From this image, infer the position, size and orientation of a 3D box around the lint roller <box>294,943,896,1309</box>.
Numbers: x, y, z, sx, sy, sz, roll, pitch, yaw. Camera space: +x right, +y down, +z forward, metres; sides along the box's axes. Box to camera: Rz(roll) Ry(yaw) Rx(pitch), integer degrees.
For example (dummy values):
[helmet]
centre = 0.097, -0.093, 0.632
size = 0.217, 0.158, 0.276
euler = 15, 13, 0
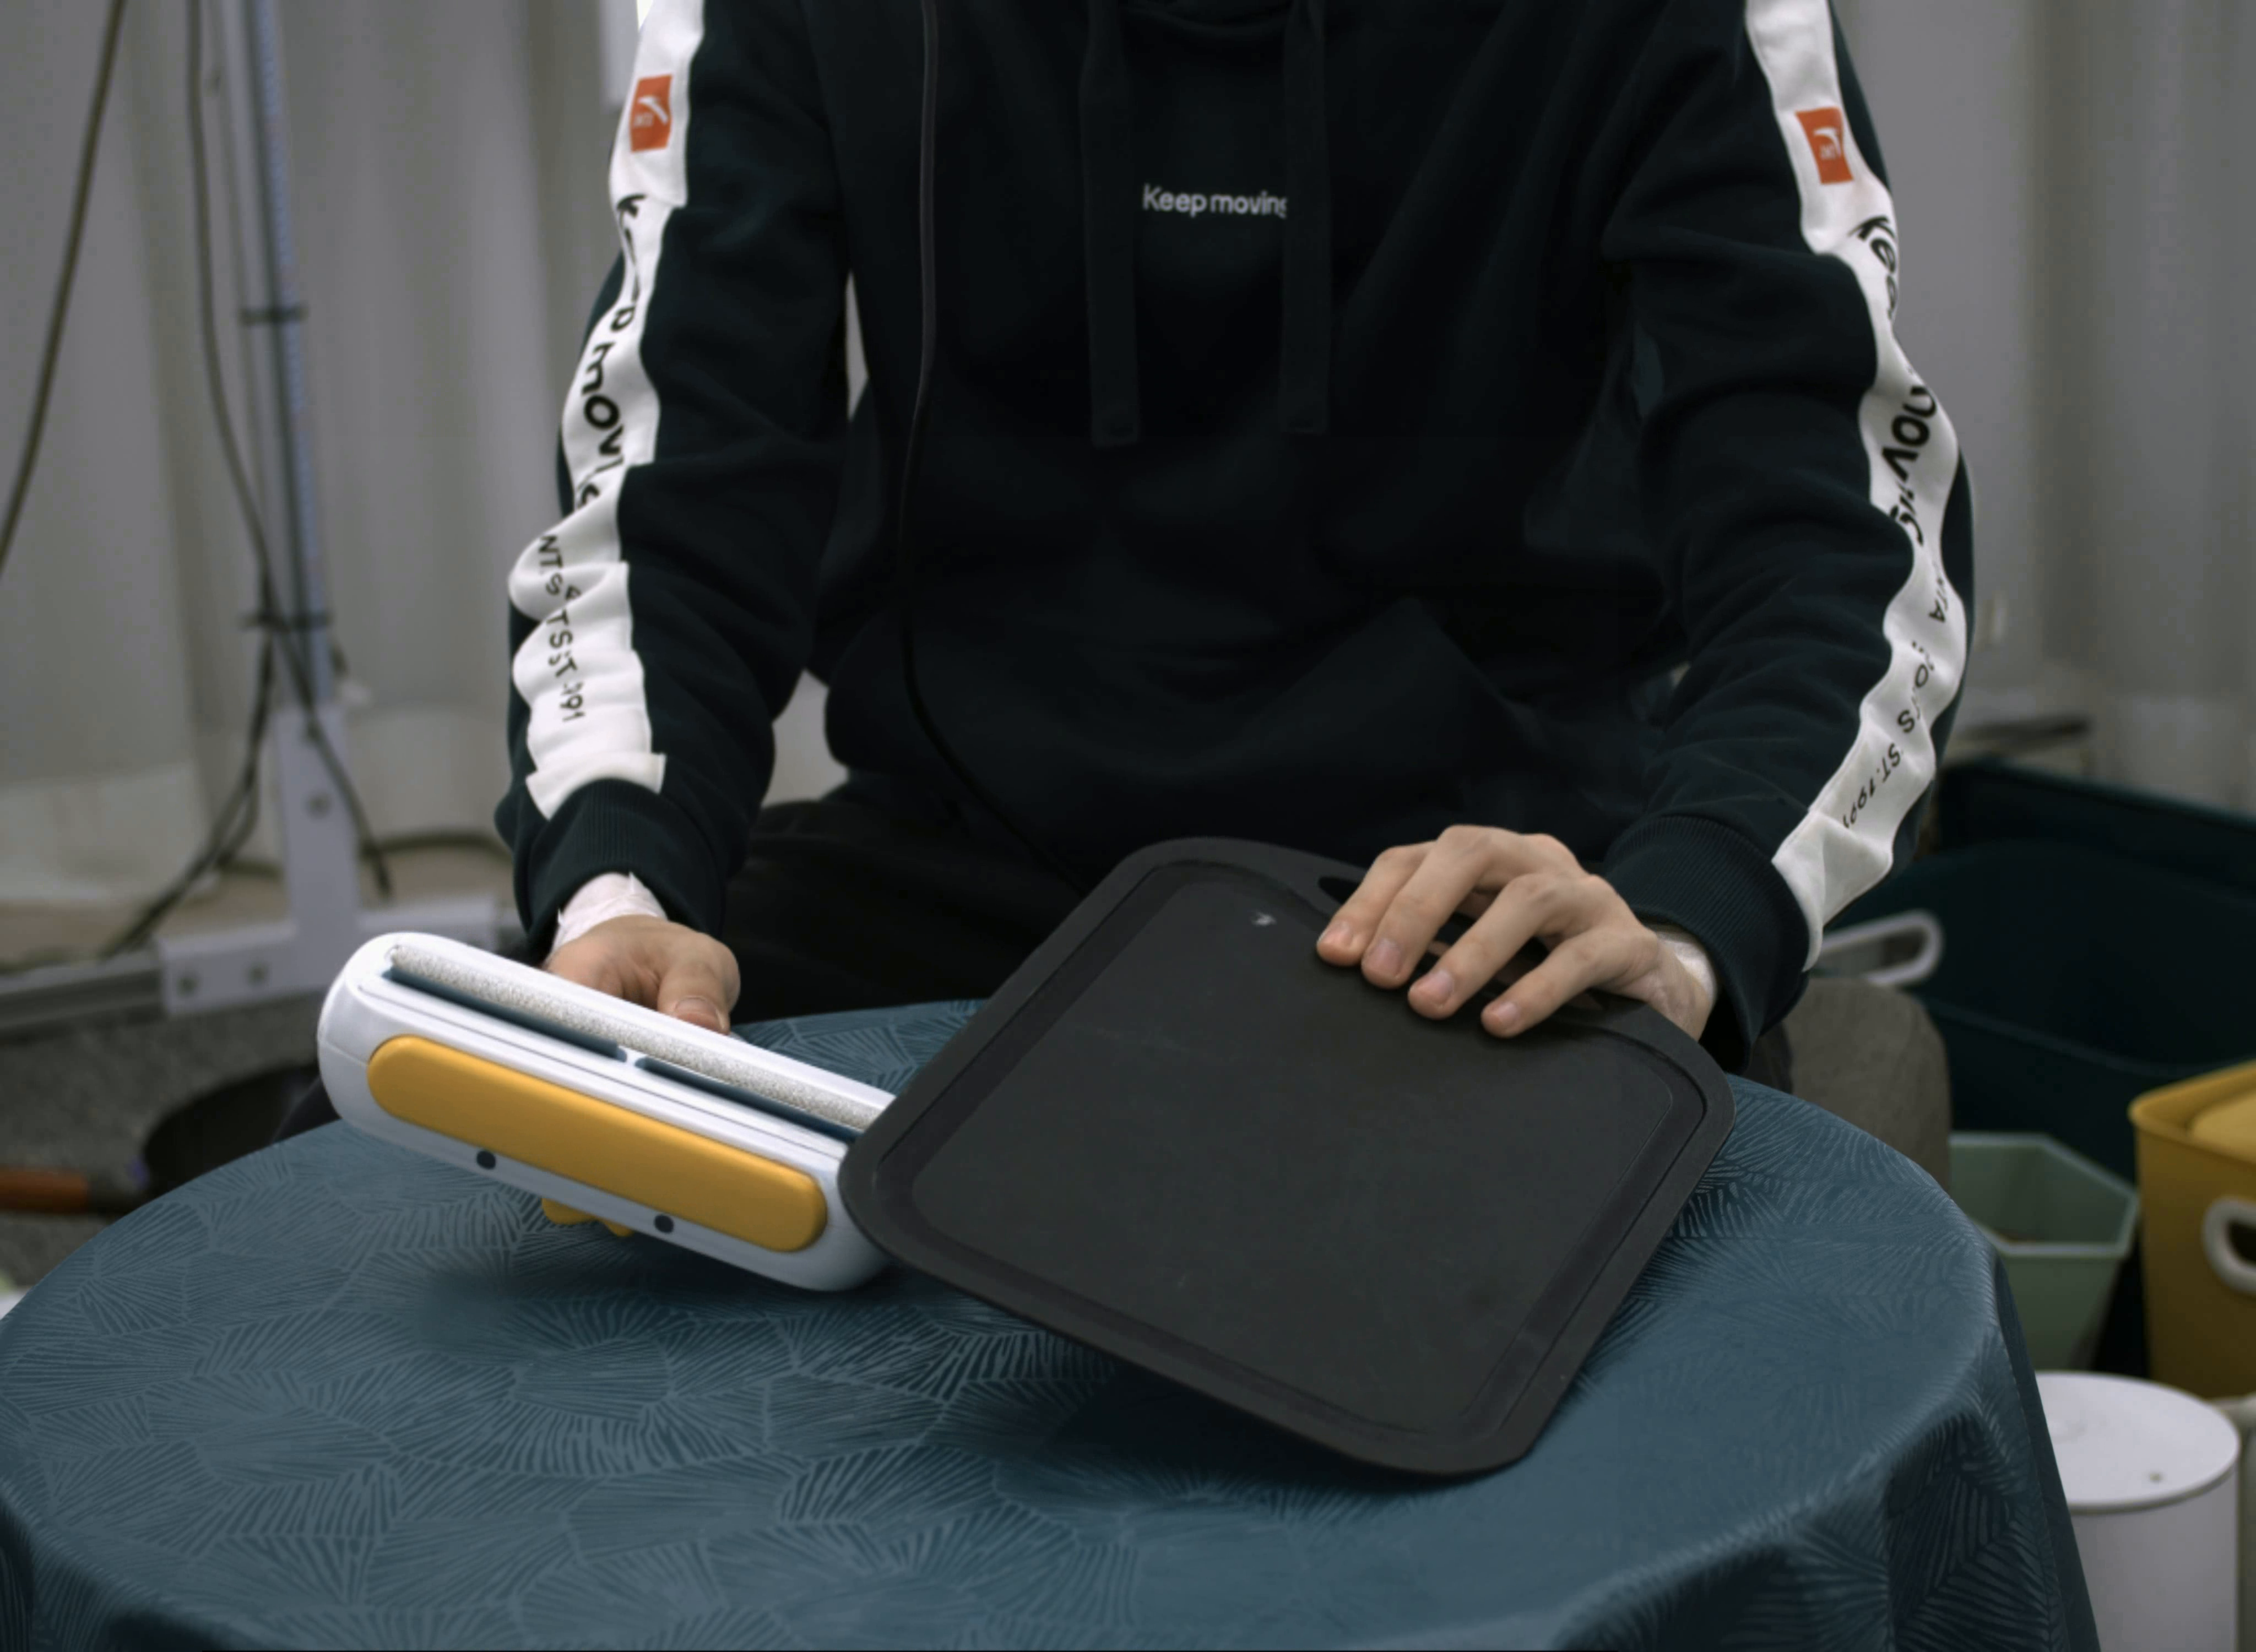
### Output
[lint roller]
centre = -0.152, 0.098, 1.712
size = 0.193, 0.074, 0.192
euler = 18, 2, 12

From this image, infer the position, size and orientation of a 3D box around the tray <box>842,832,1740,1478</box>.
[tray]
centre = 0.057, 0.084, 1.612
size = 0.211, 0.010, 0.327
euler = 23, 28, 13
